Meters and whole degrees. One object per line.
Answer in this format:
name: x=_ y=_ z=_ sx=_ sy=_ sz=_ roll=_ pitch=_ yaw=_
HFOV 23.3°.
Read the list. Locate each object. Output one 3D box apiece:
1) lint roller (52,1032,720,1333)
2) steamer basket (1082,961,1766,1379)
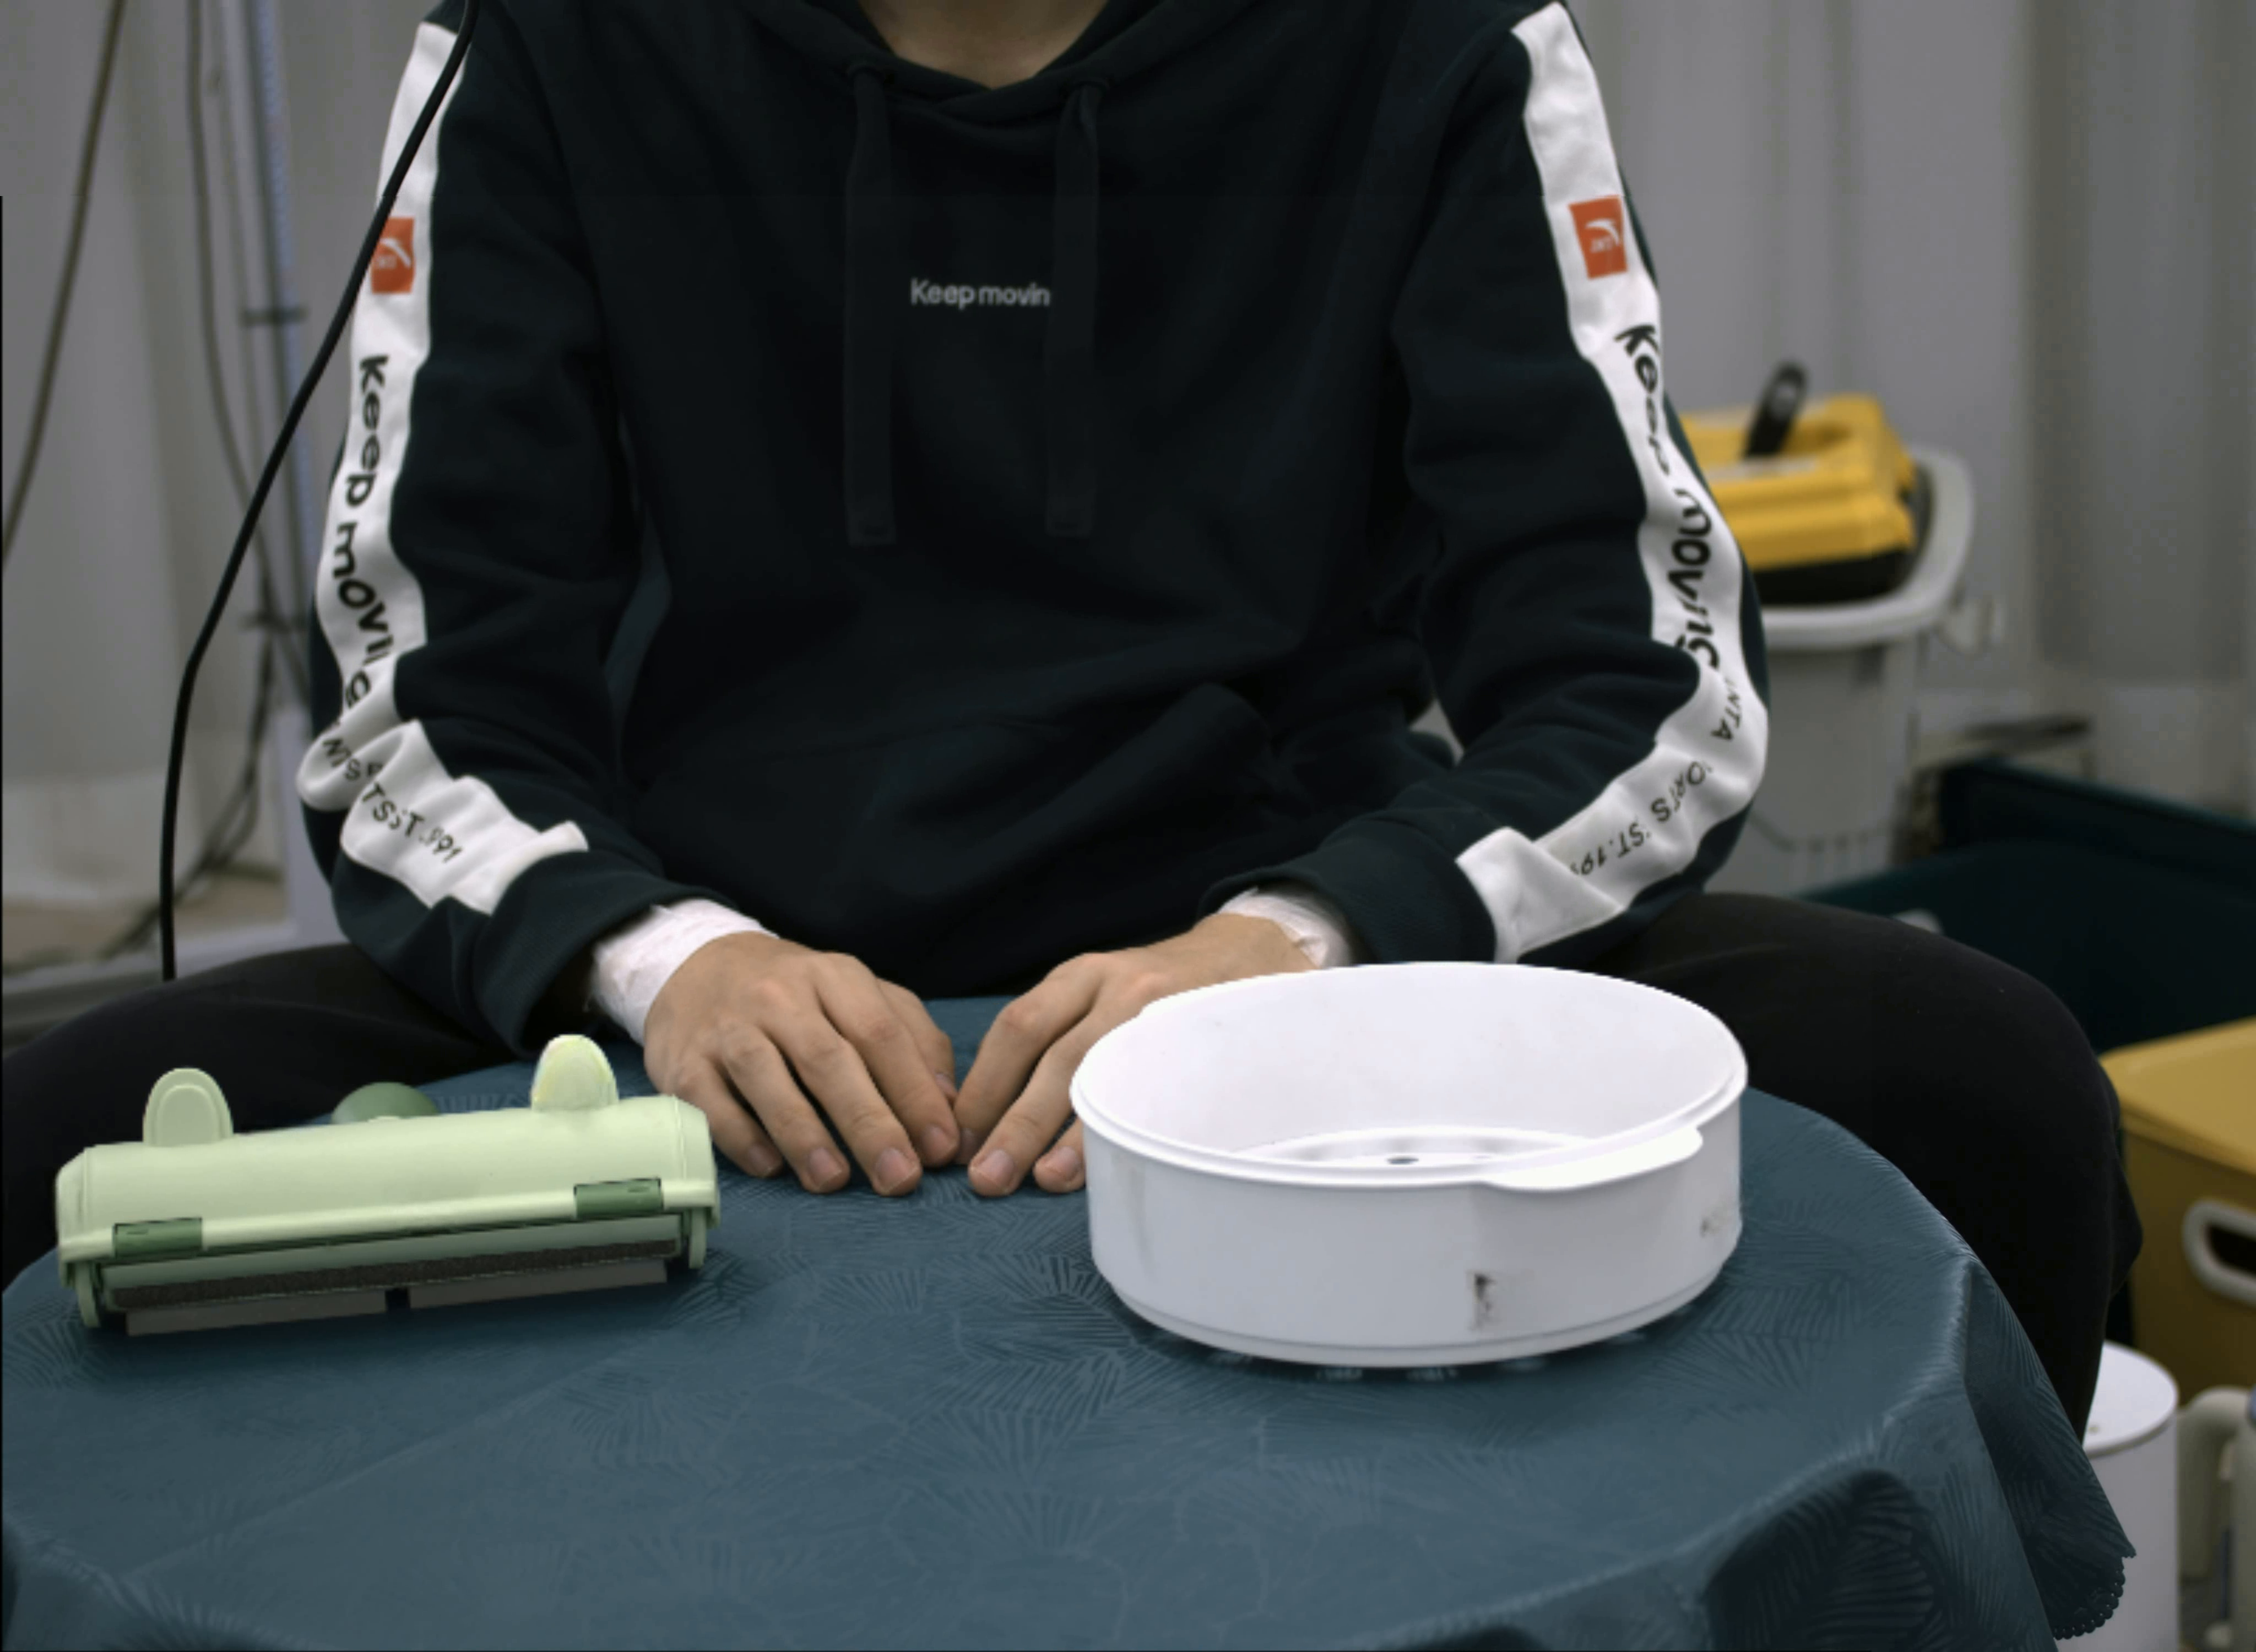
lint roller: x=-0.231 y=0.092 z=1.697 sx=0.198 sy=0.082 sz=0.185 roll=-5 pitch=19 yaw=-7
steamer basket: x=0.088 y=0.101 z=1.615 sx=0.201 sy=0.069 sz=0.232 roll=-12 pitch=19 yaw=-28
